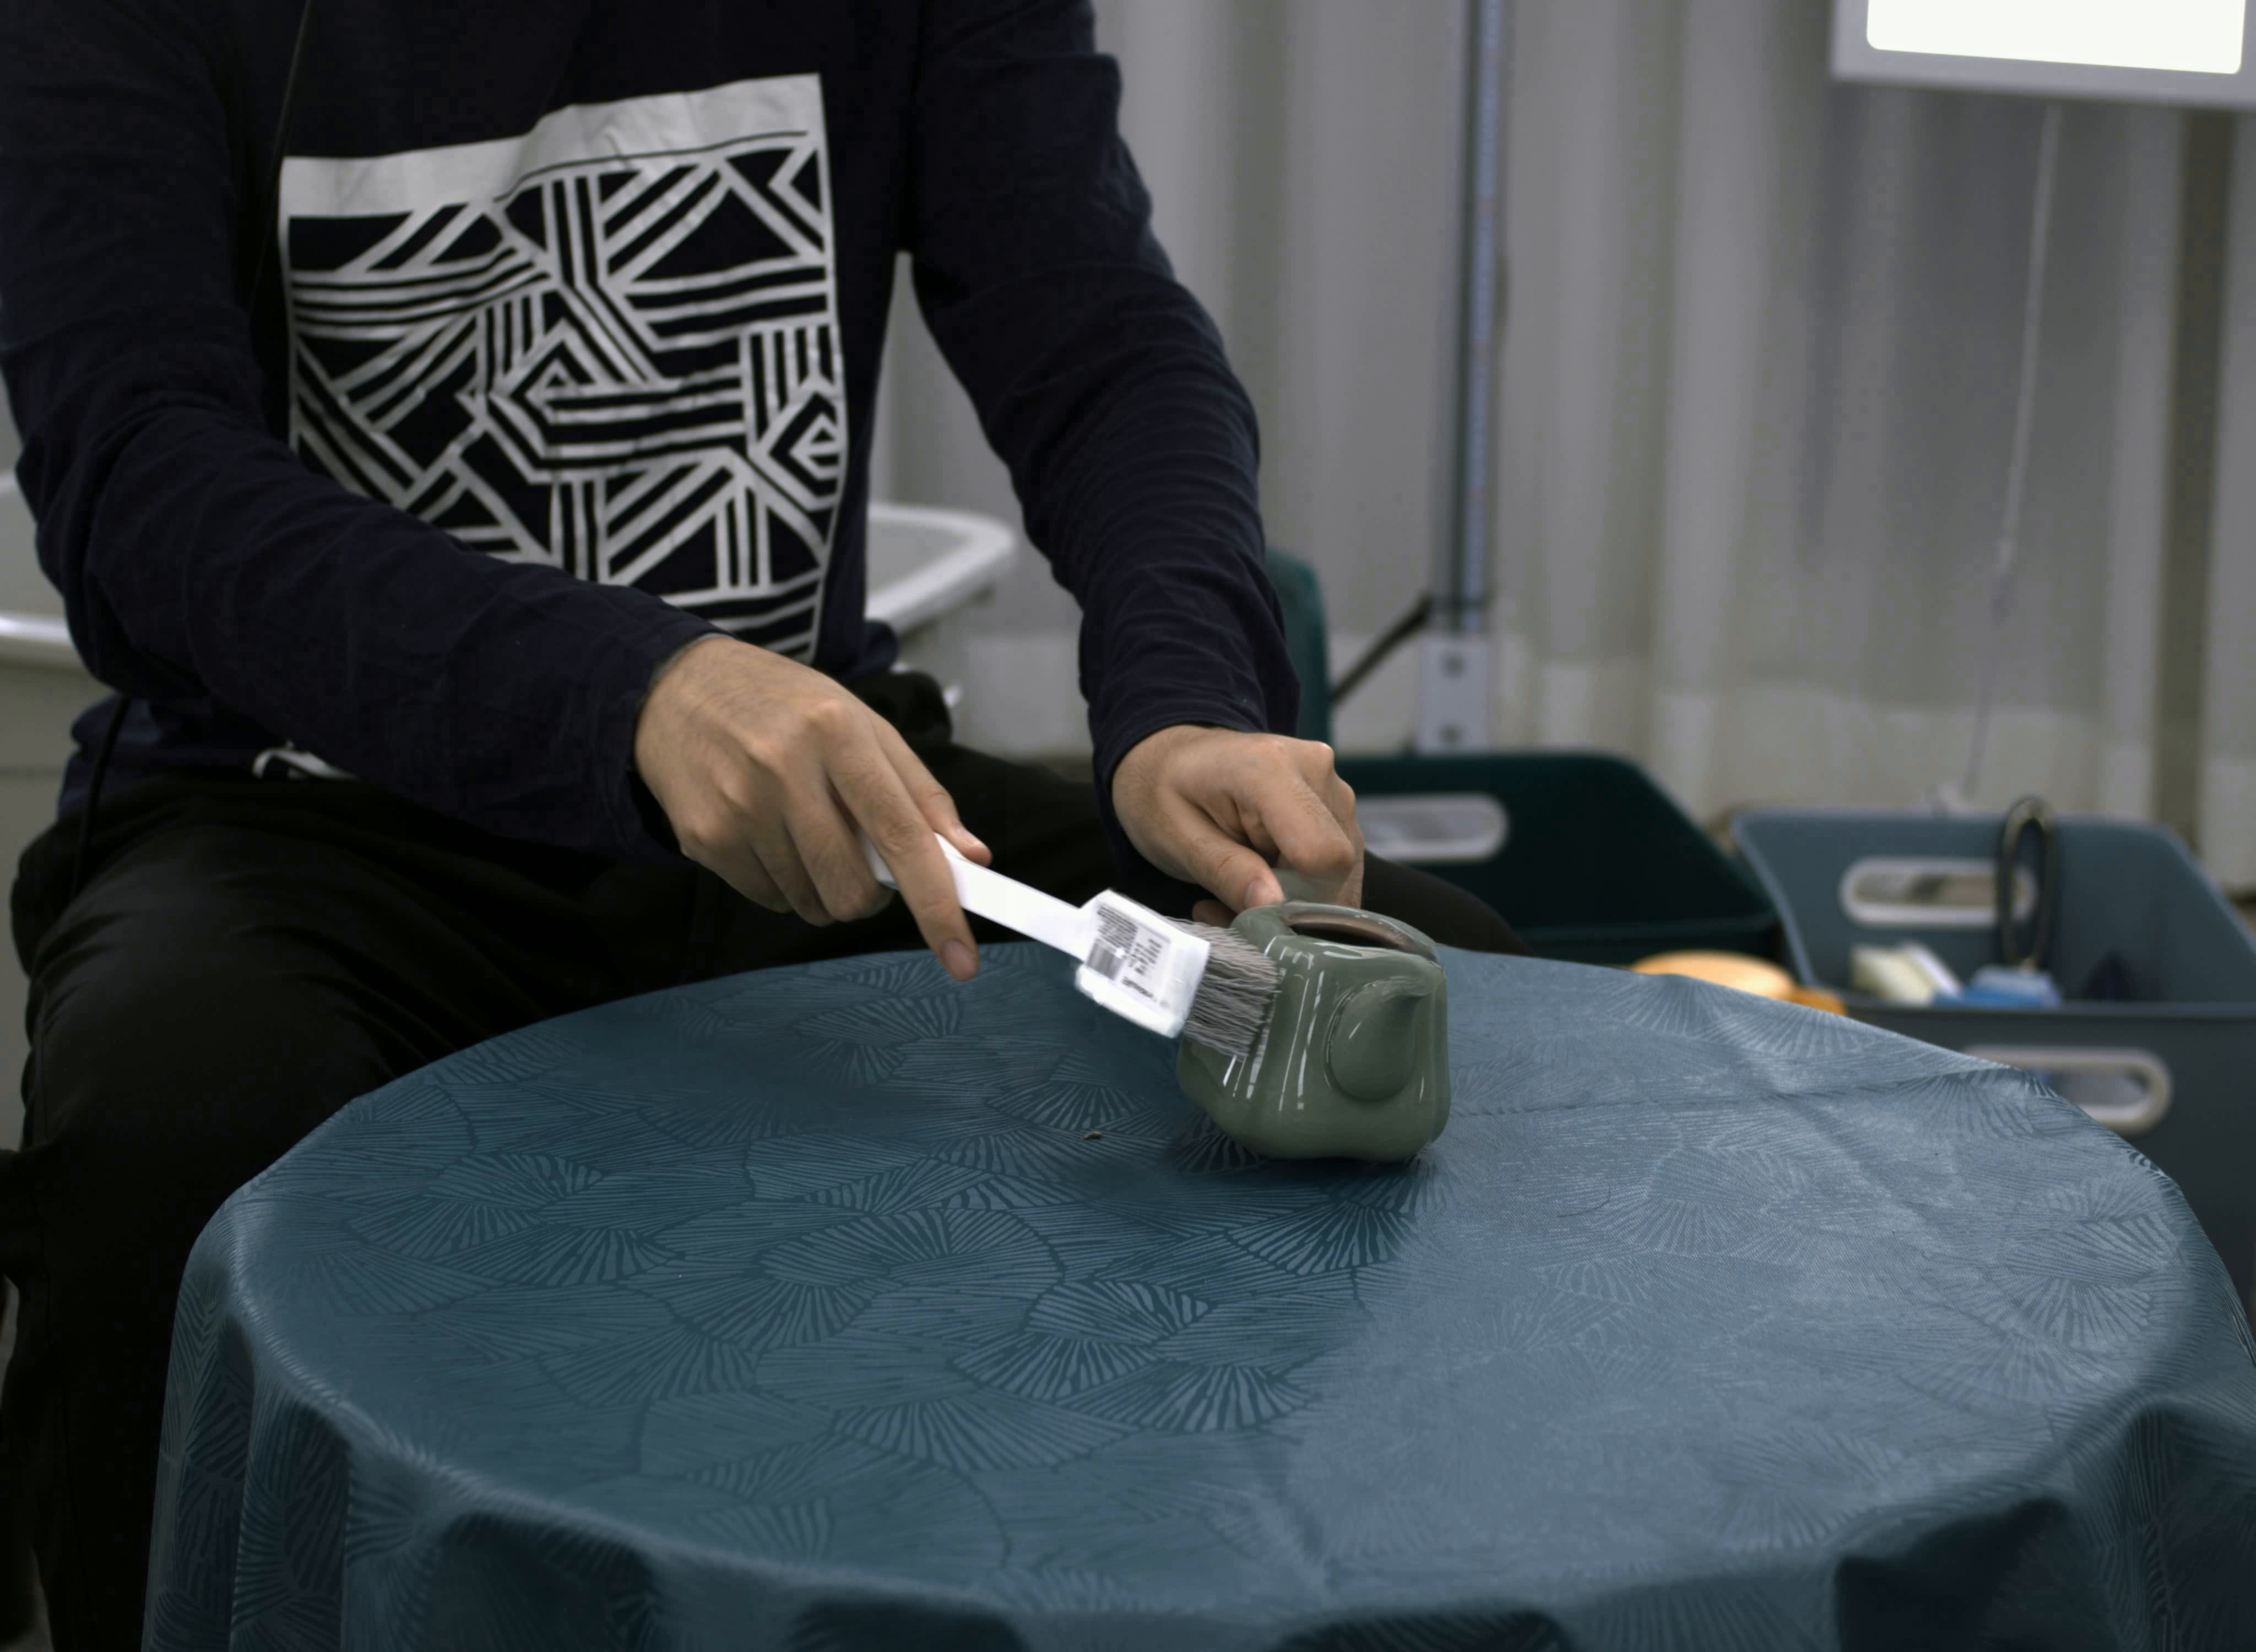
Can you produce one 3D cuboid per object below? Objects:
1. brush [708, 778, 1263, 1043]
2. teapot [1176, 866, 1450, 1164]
[{"bbox_3d":[-0.046,0.024,1.696,0.051,0.034,0.240,11,6,-45],"label":"brush"},{"bbox_3d":[0.062,0.062,1.658,0.080,0.075,0.131,5,13,-23],"label":"teapot"}]
